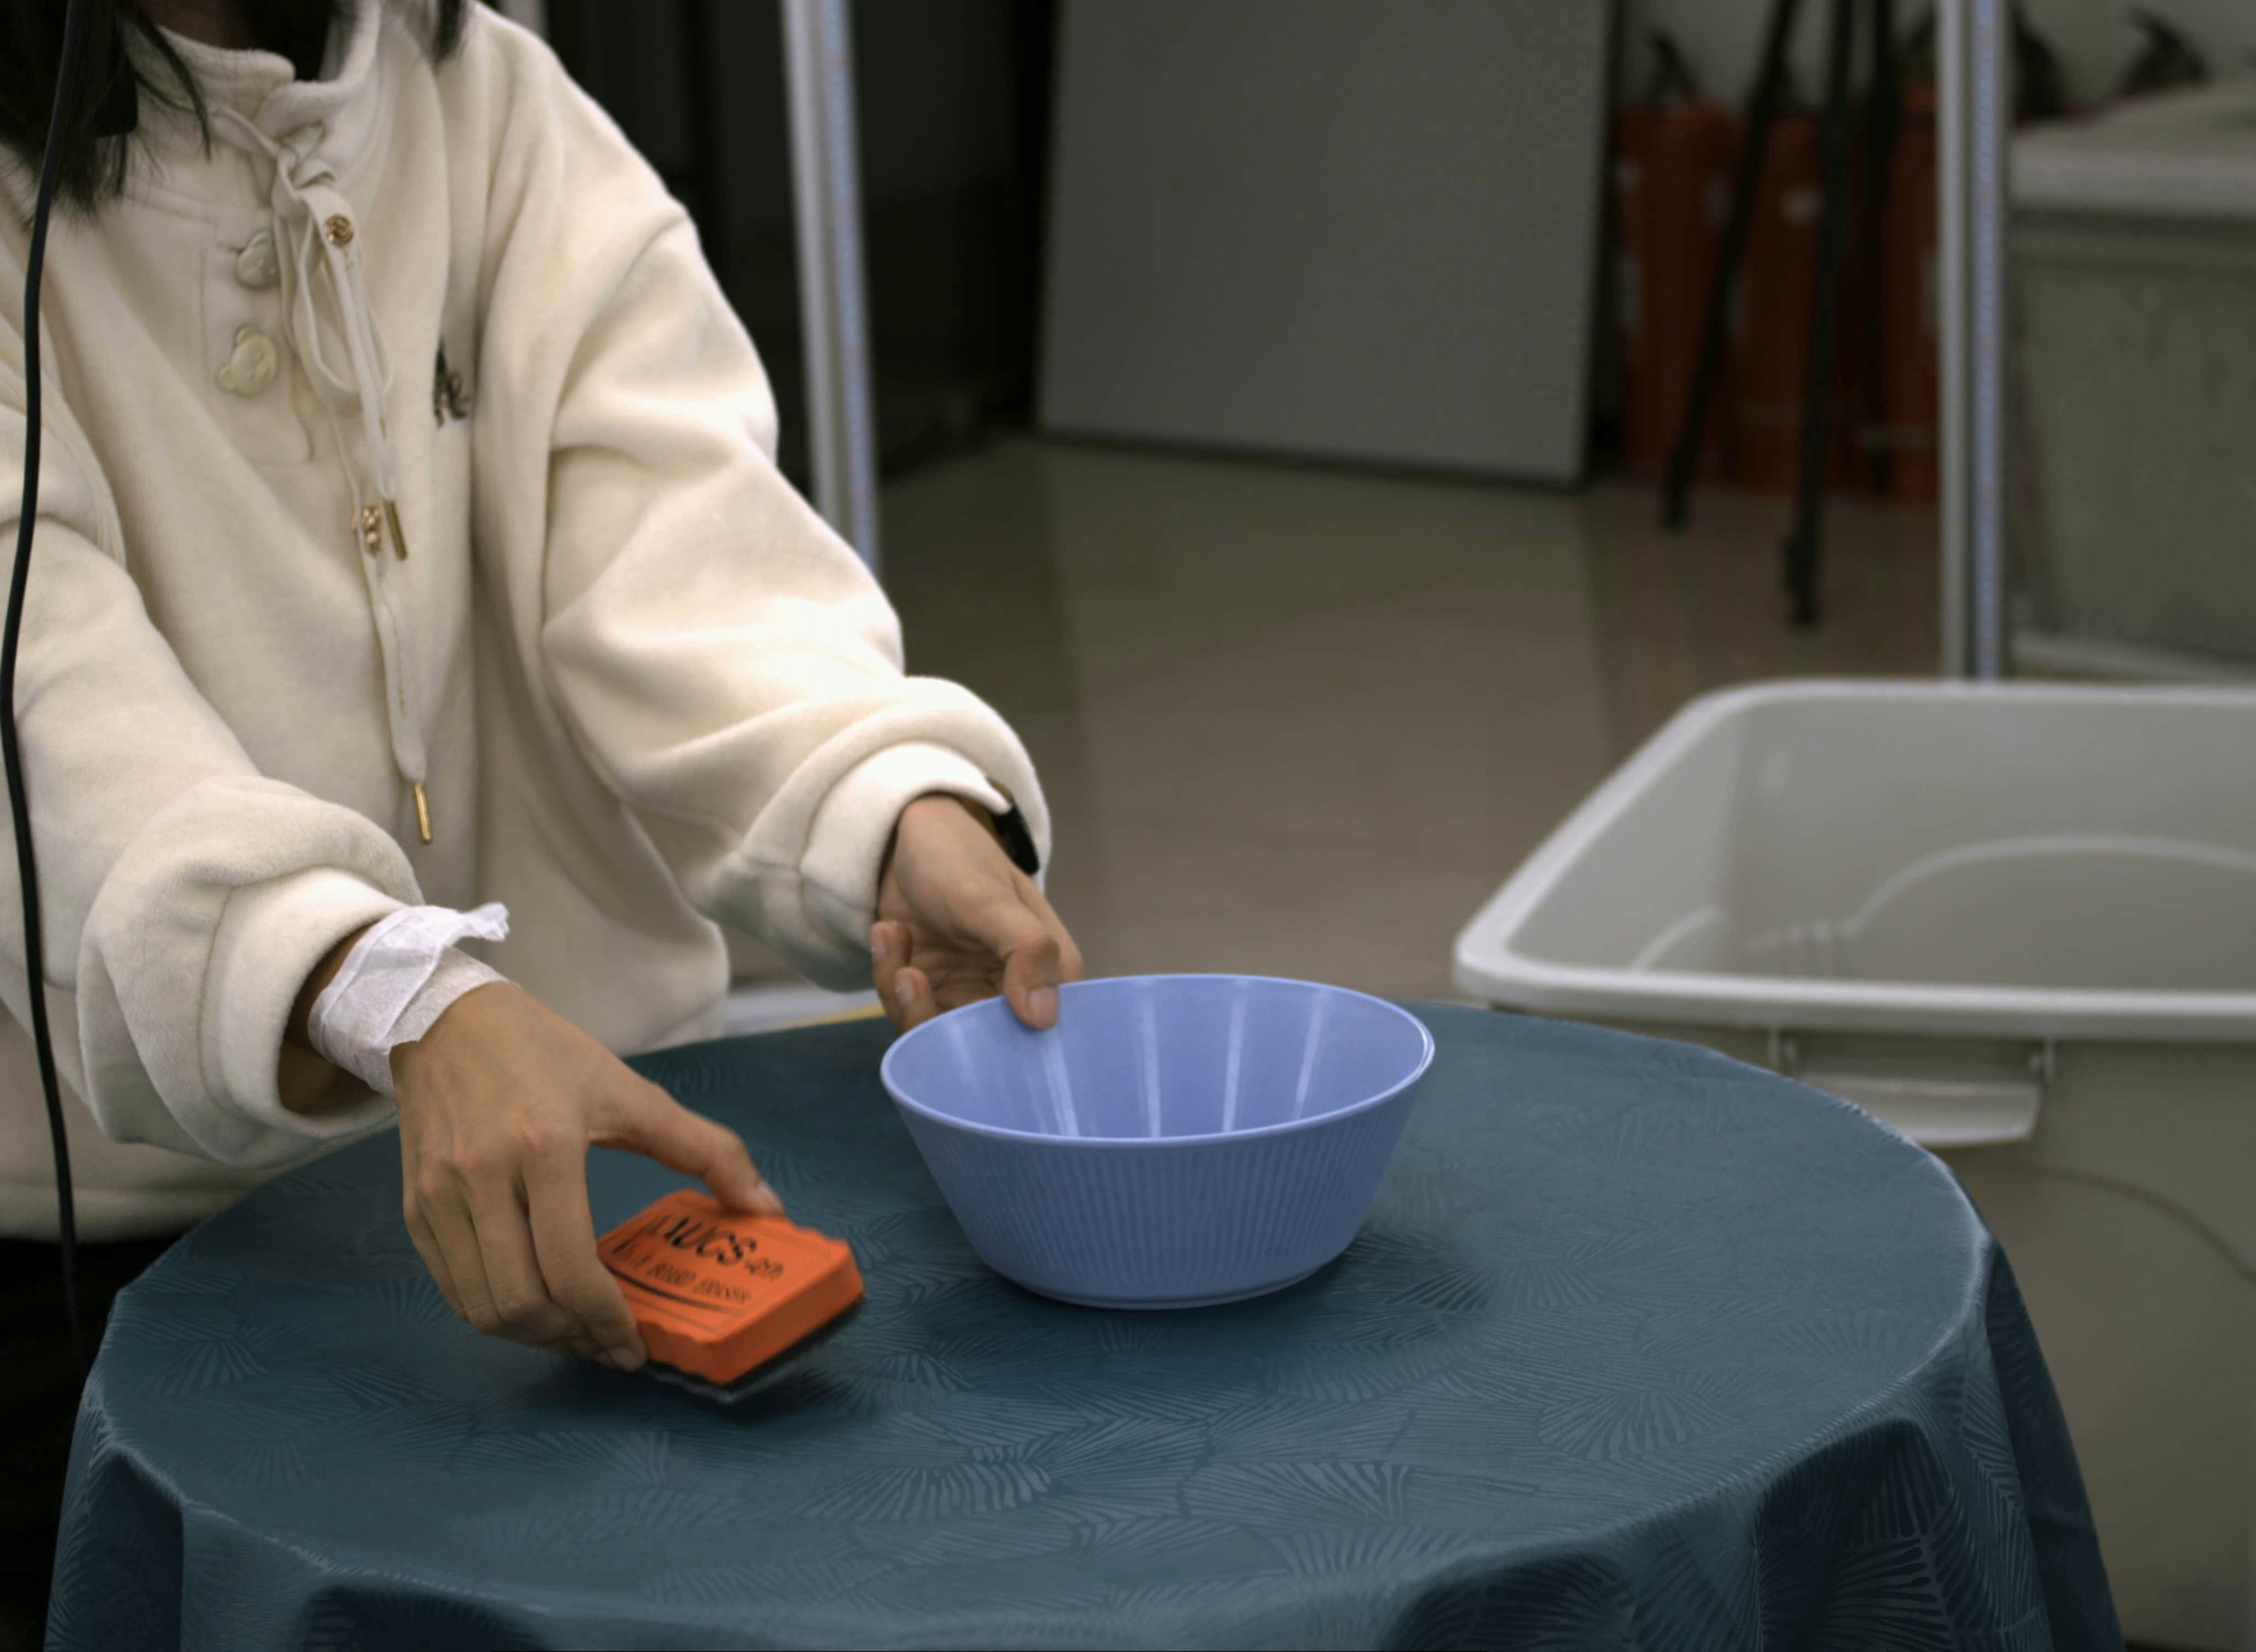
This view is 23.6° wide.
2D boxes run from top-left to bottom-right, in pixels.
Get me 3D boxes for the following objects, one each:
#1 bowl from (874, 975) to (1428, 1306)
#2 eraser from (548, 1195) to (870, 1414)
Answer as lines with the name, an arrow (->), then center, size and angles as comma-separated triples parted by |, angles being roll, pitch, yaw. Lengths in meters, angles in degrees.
bowl -> 0.009, 0.101, 1.695 | 0.174, 0.071, 0.176 | -3, 14, 0
eraser -> -0.126, 0.143, 1.624 | 0.058, 0.023, 0.109 | -32, 24, -25
